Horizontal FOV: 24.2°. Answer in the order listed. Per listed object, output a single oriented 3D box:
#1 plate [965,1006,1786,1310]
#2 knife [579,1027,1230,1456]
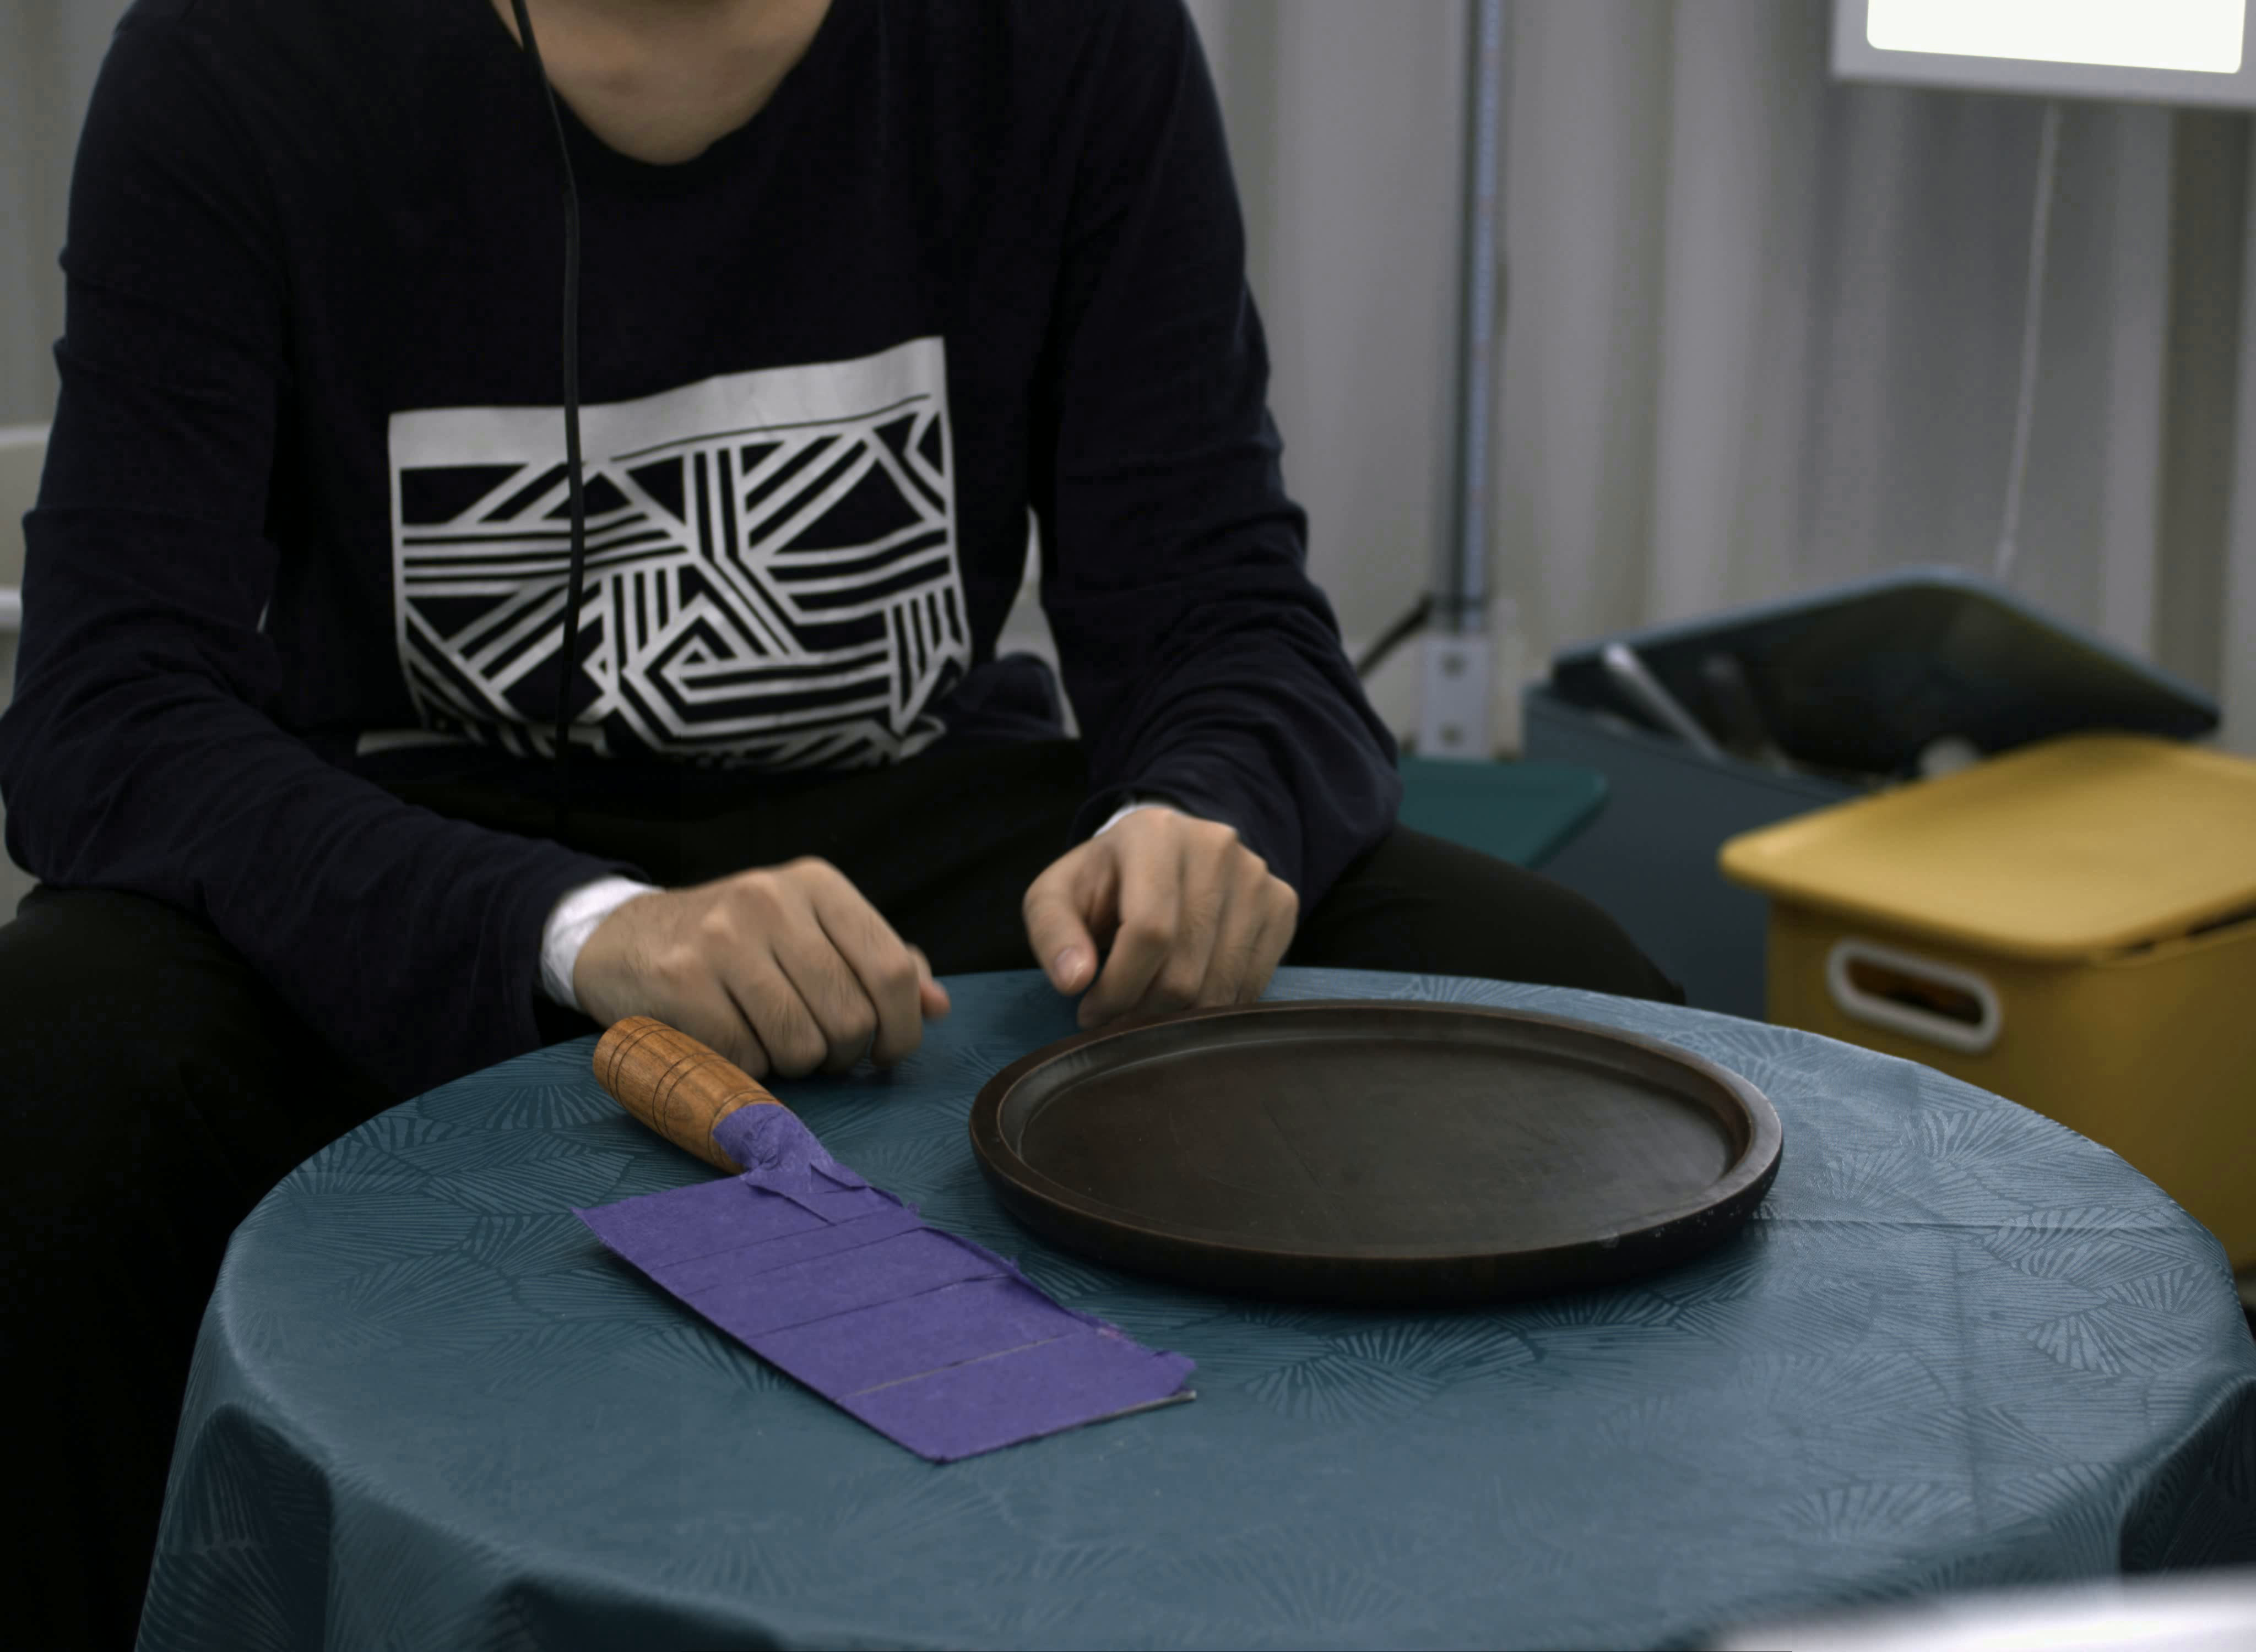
[{"bbox_3d":[0.076,0.099,1.629,0.254,0.029,0.253,1,16,0],"label":"plate"},{"bbox_3d":[-0.100,0.118,1.549,0.104,0.032,0.311,-10,19,-34],"label":"knife"}]
